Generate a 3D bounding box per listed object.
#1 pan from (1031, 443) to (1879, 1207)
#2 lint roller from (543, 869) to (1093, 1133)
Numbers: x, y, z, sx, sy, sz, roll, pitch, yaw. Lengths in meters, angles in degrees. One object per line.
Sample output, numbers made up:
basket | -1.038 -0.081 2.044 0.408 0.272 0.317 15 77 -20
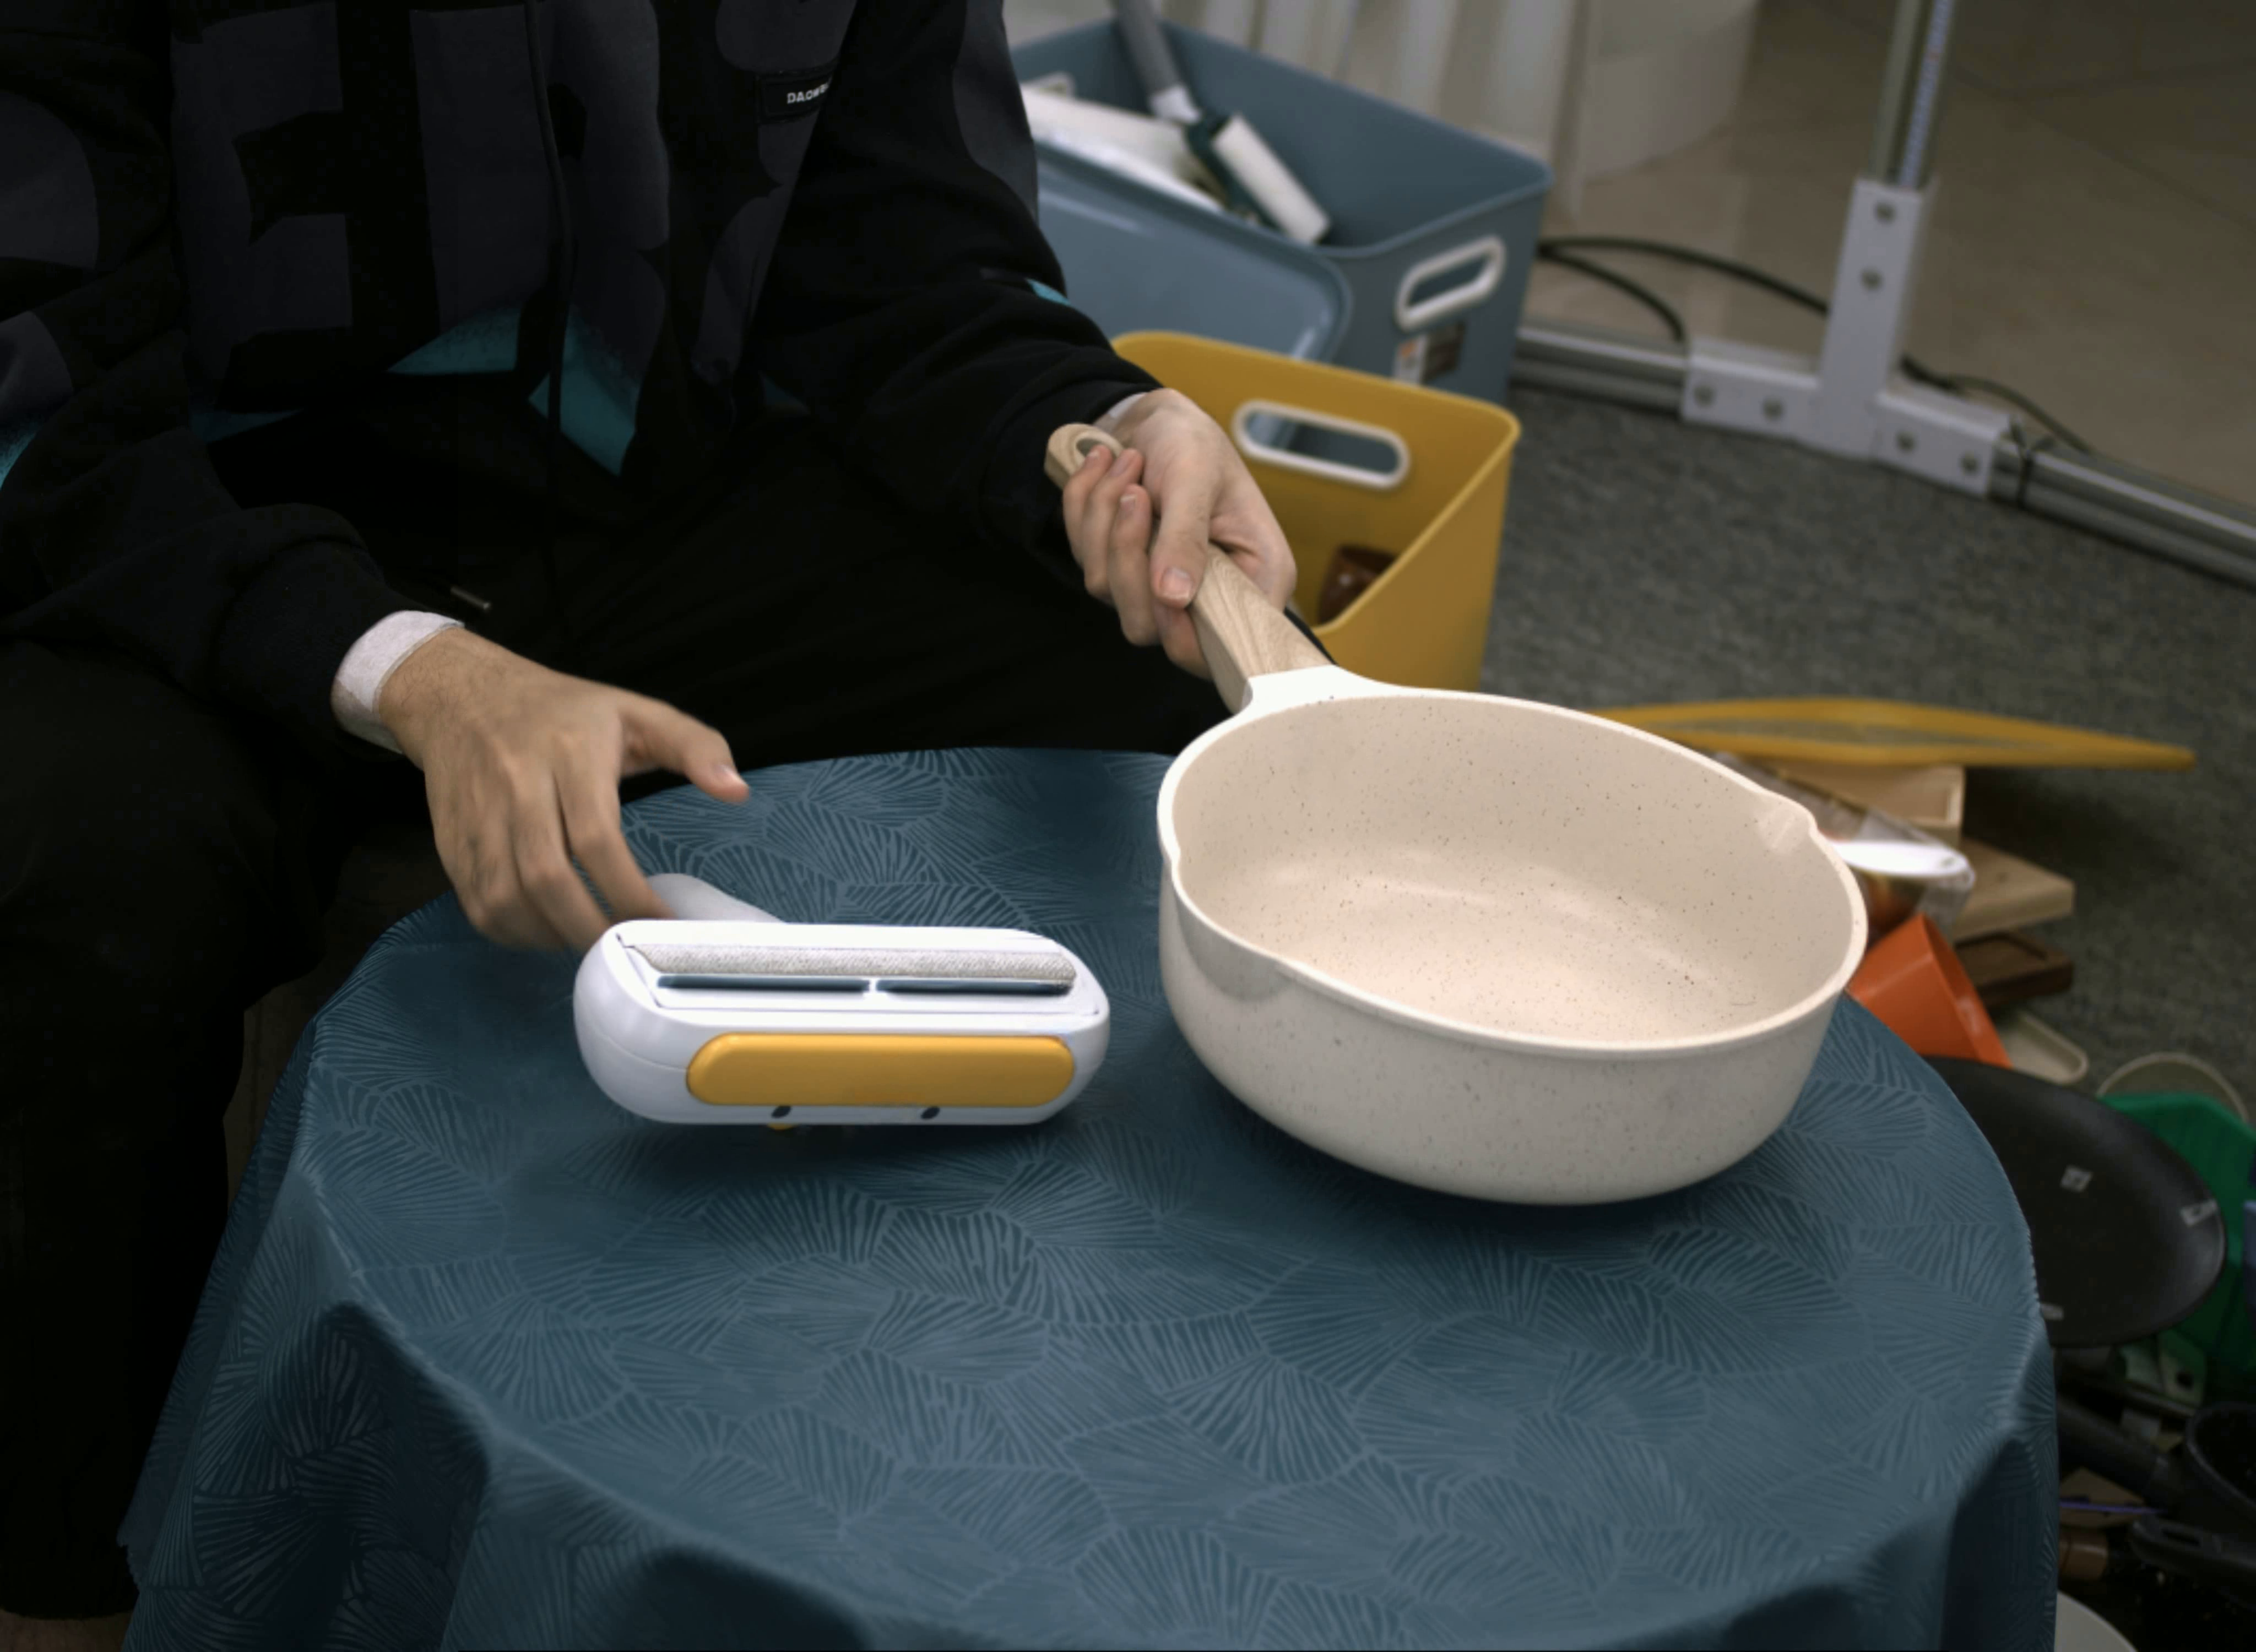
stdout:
pan | 0.084 -0.003 1.928 0.262 0.101 0.439 -12 34 -30
lint roller | -0.127 0.048 1.844 0.191 0.074 0.194 -1 26 -25
